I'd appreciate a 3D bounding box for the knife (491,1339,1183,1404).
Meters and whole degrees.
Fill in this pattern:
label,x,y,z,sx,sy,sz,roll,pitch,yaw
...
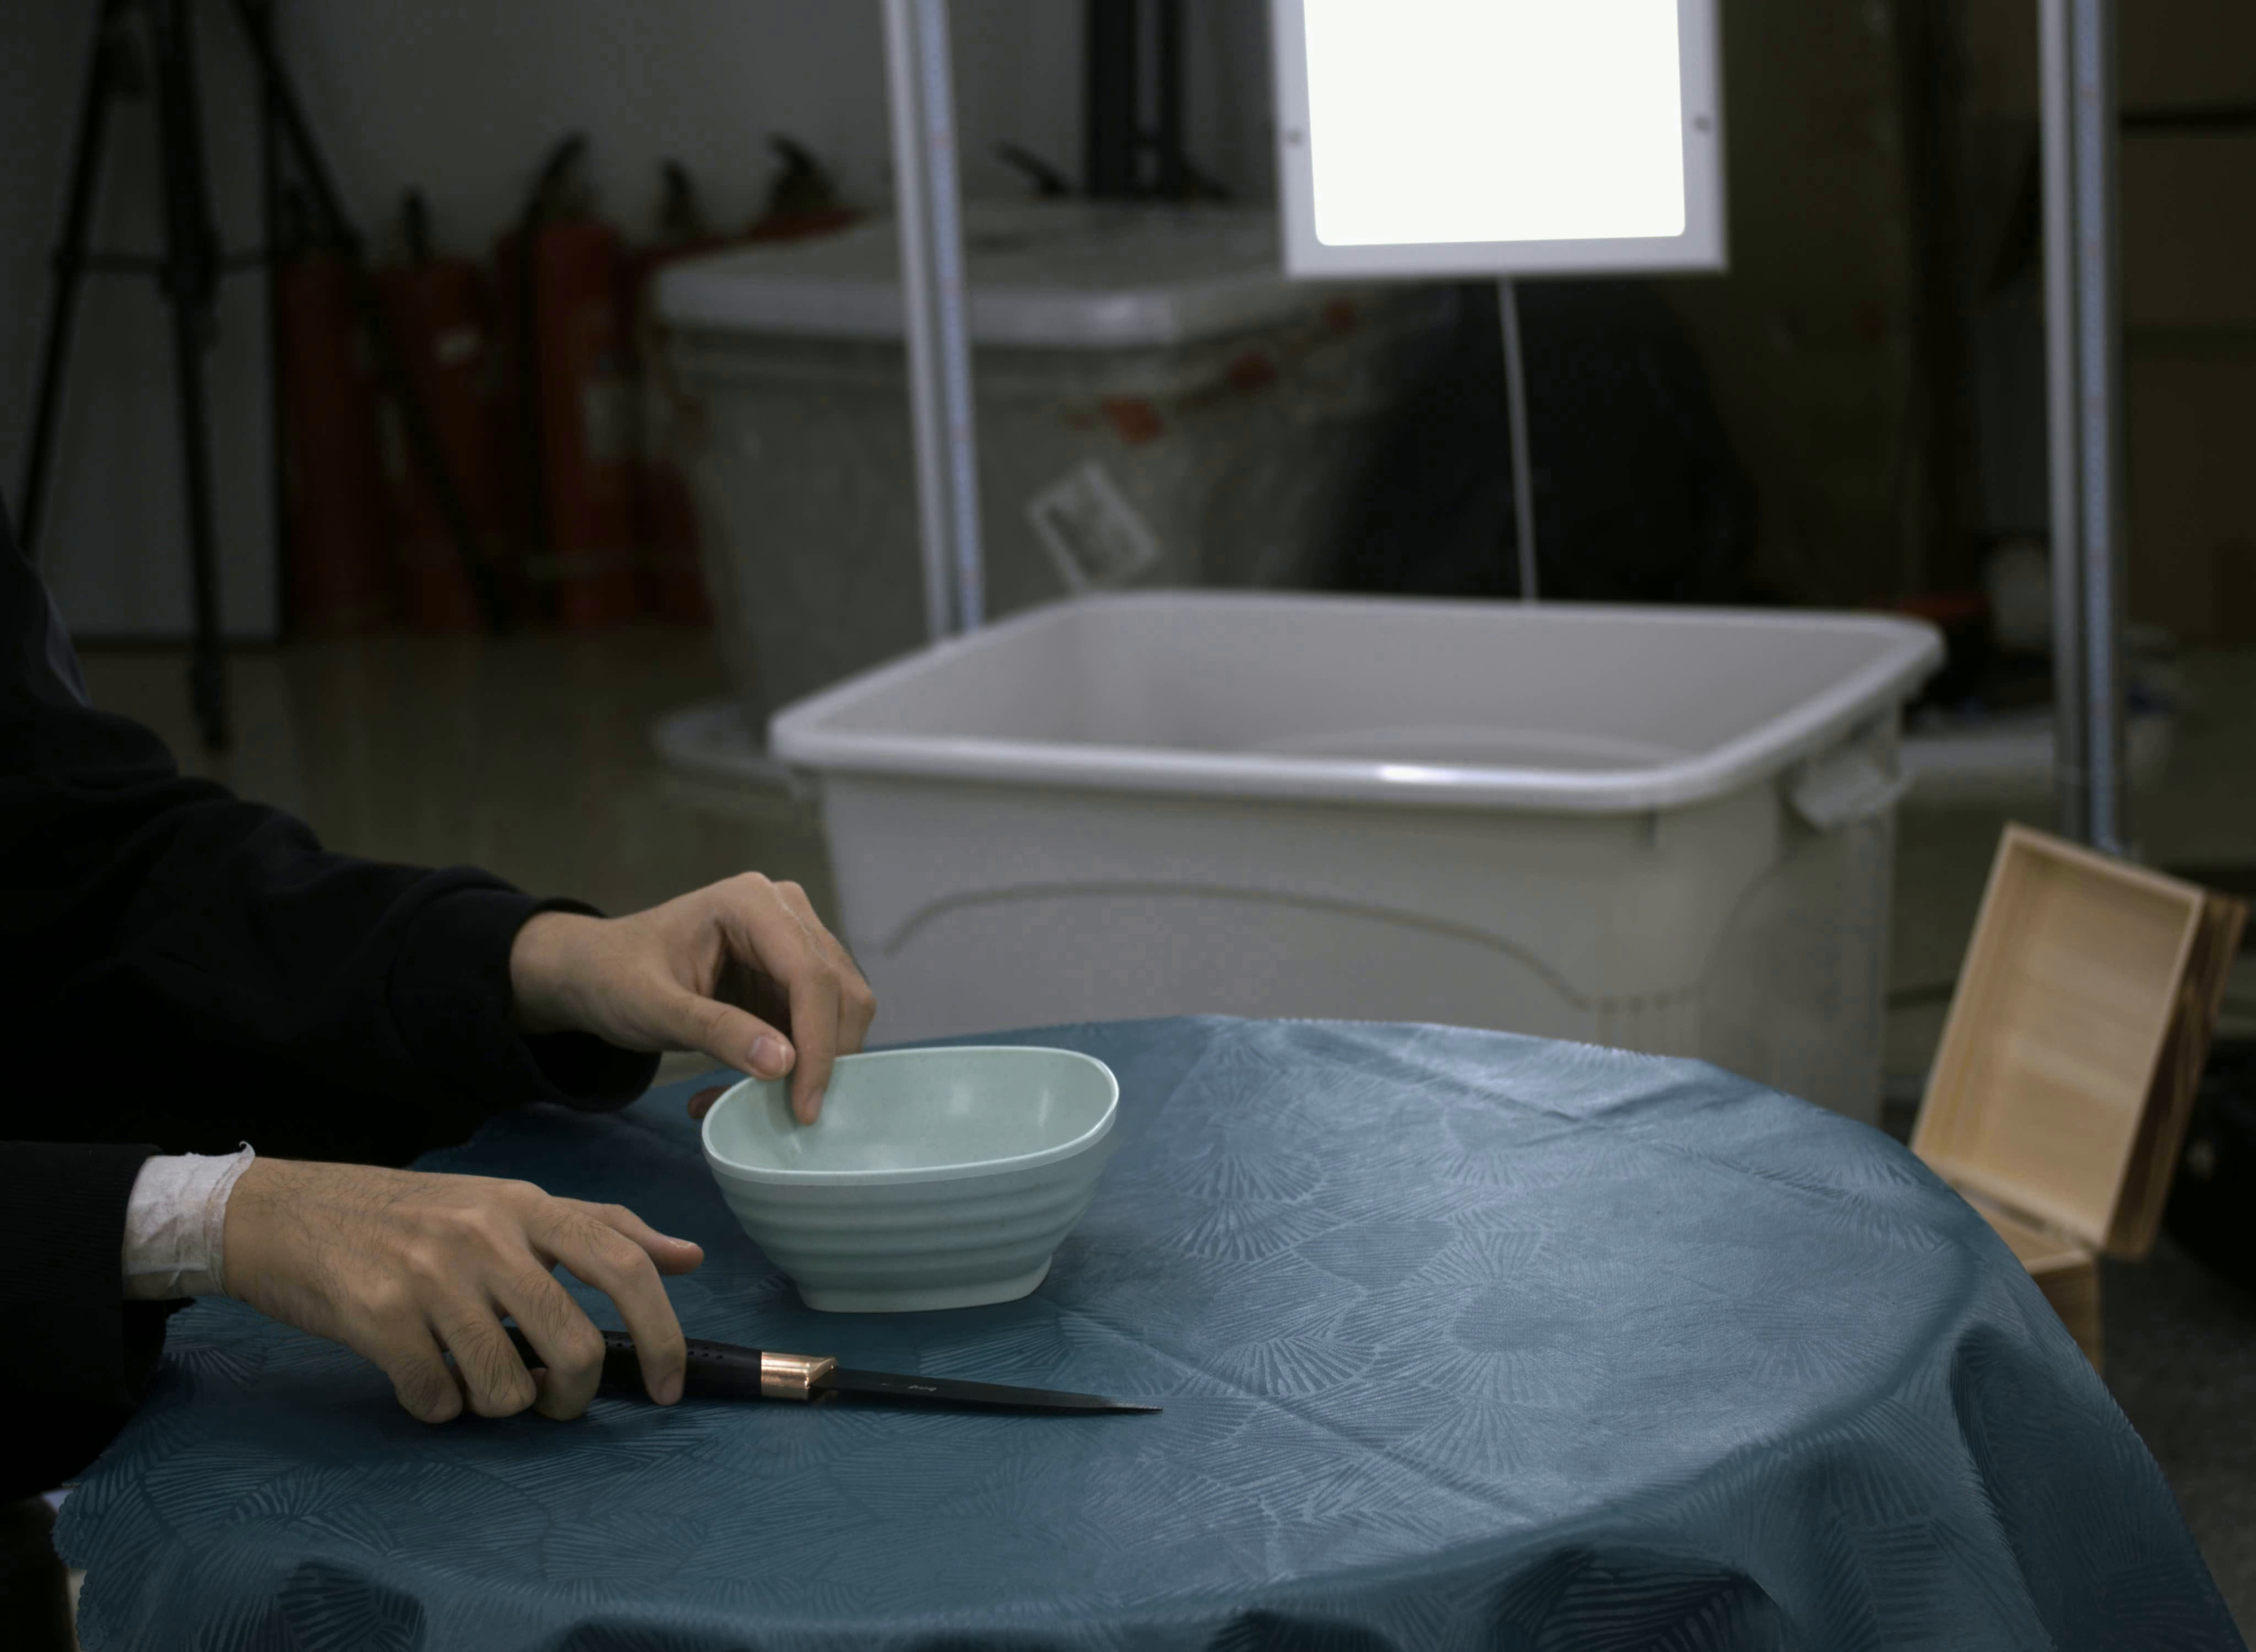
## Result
label,x,y,z,sx,sy,sz,roll,pitch,yaw
knife,-0.092,0.172,1.722,0.228,0.017,0.026,1,9,19

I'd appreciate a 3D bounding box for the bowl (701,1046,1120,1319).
label,x,y,z,sx,sy,sz,roll,pitch,yaw
bowl,-0.070,0.122,1.827,0.151,0.059,0.151,-5,15,0
